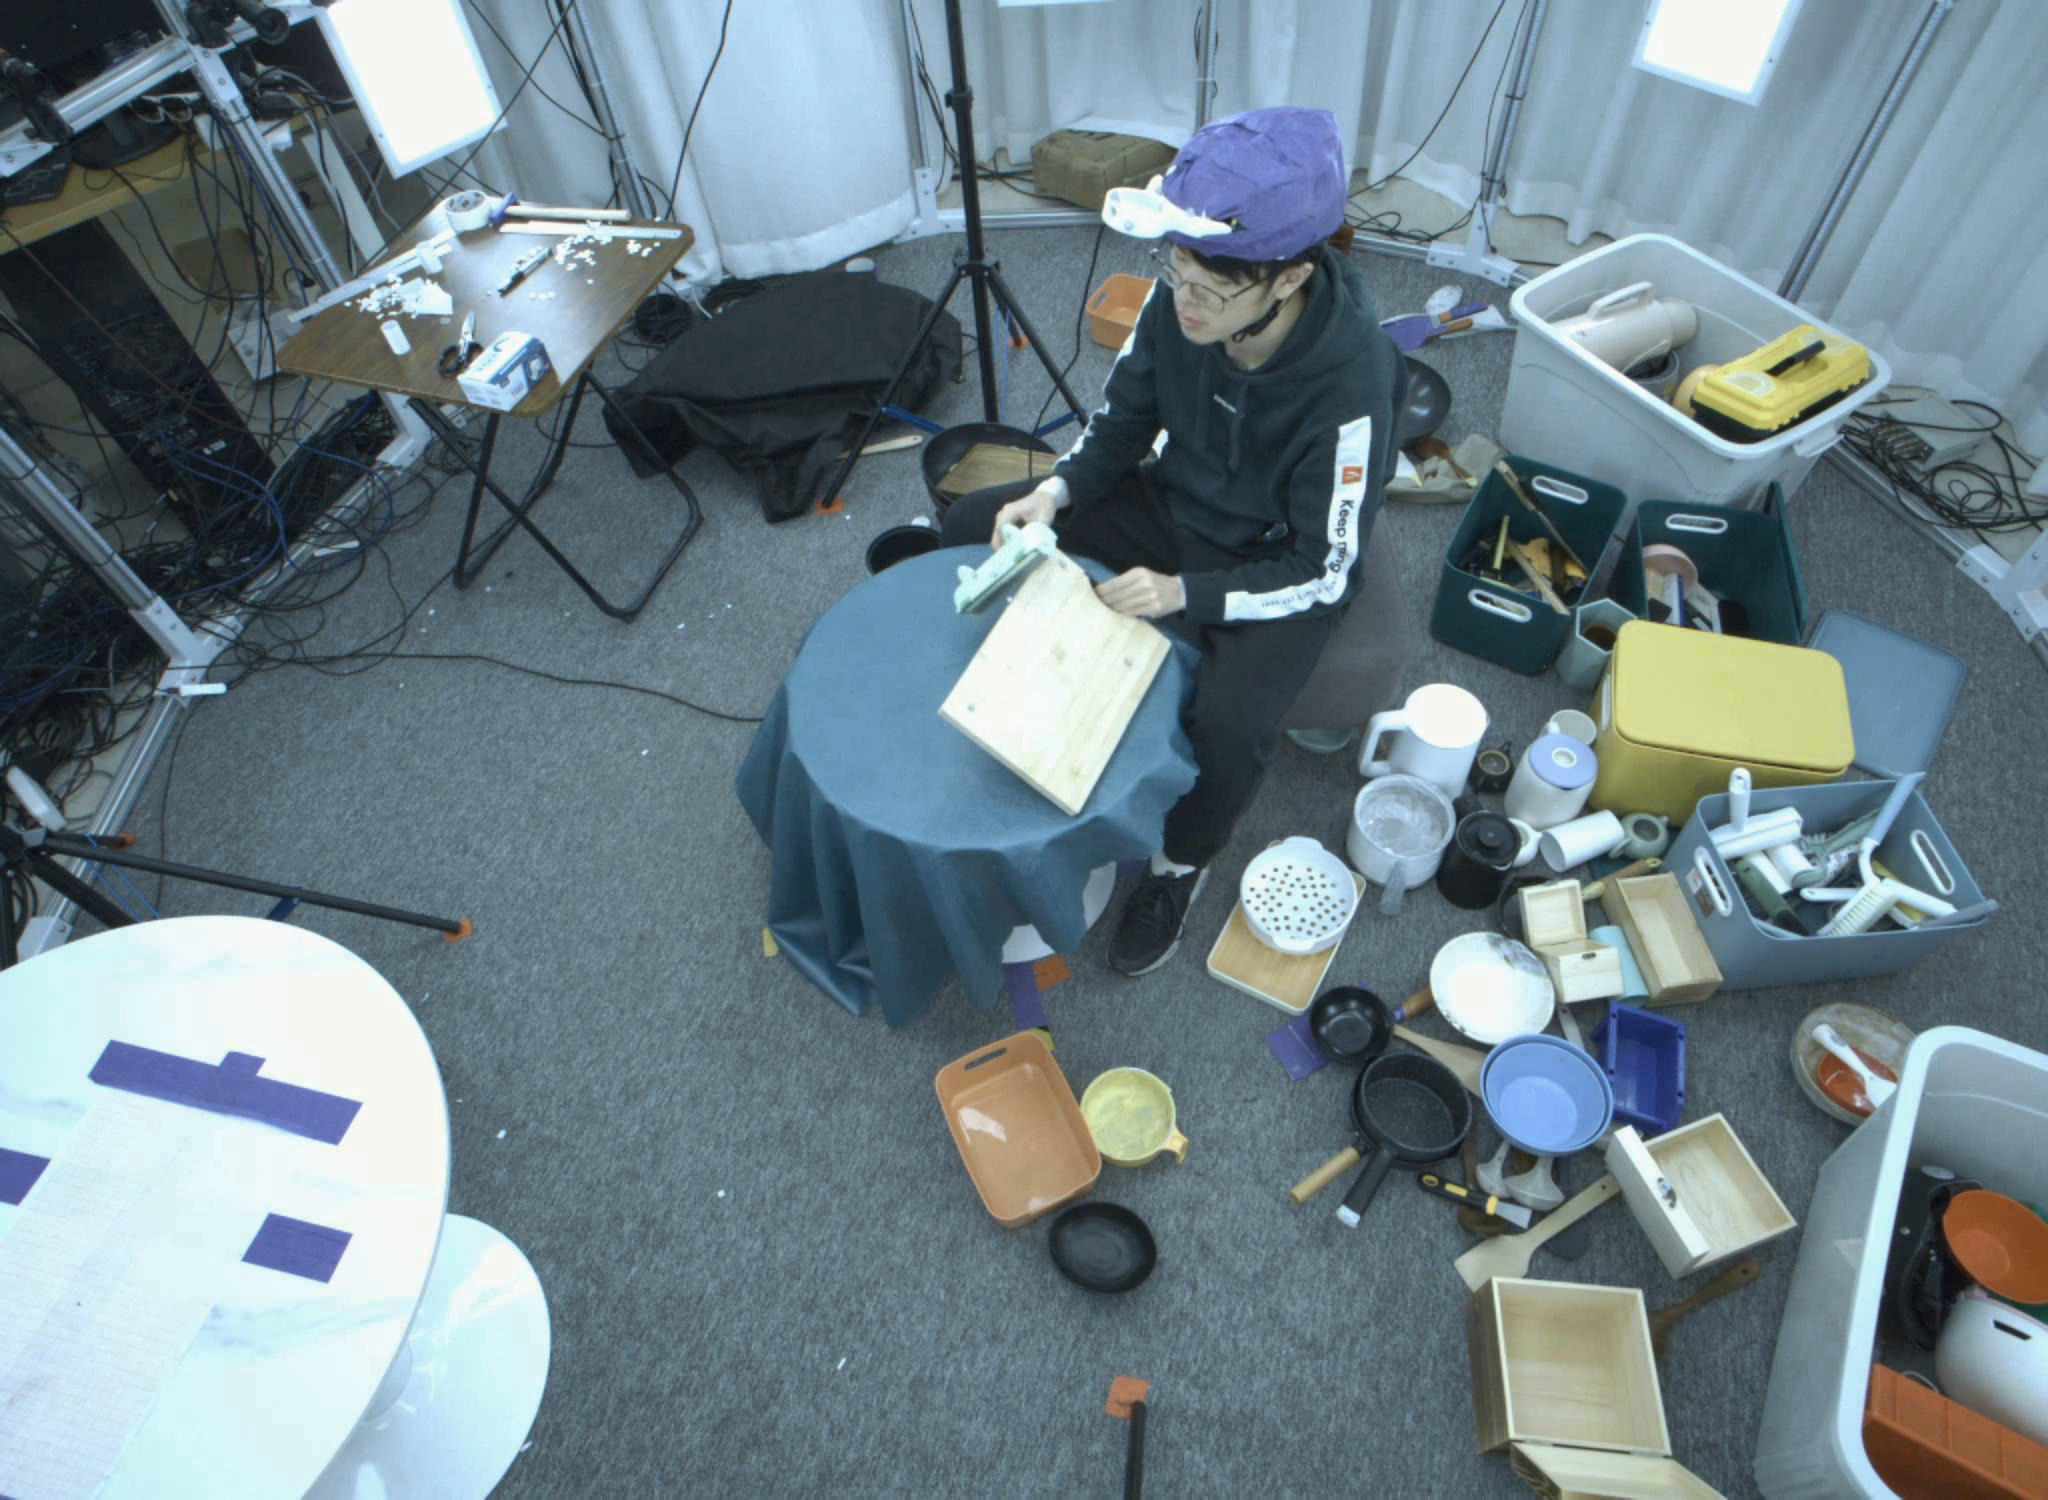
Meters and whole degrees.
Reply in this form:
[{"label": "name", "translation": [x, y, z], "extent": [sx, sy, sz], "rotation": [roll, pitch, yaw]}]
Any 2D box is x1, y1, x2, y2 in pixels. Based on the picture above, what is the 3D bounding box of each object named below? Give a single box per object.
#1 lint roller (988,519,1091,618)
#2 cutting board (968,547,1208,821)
[{"label": "lint roller", "translation": [0.029, -0.305, 1.838], "extent": [0.083, 0.196, 0.183], "rotation": [36, 48, -18]}, {"label": "cutting board", "translation": [0.099, -0.101, 1.761], "extent": [0.253, 0.023, 0.349], "rotation": [39, 60, -13]}]
